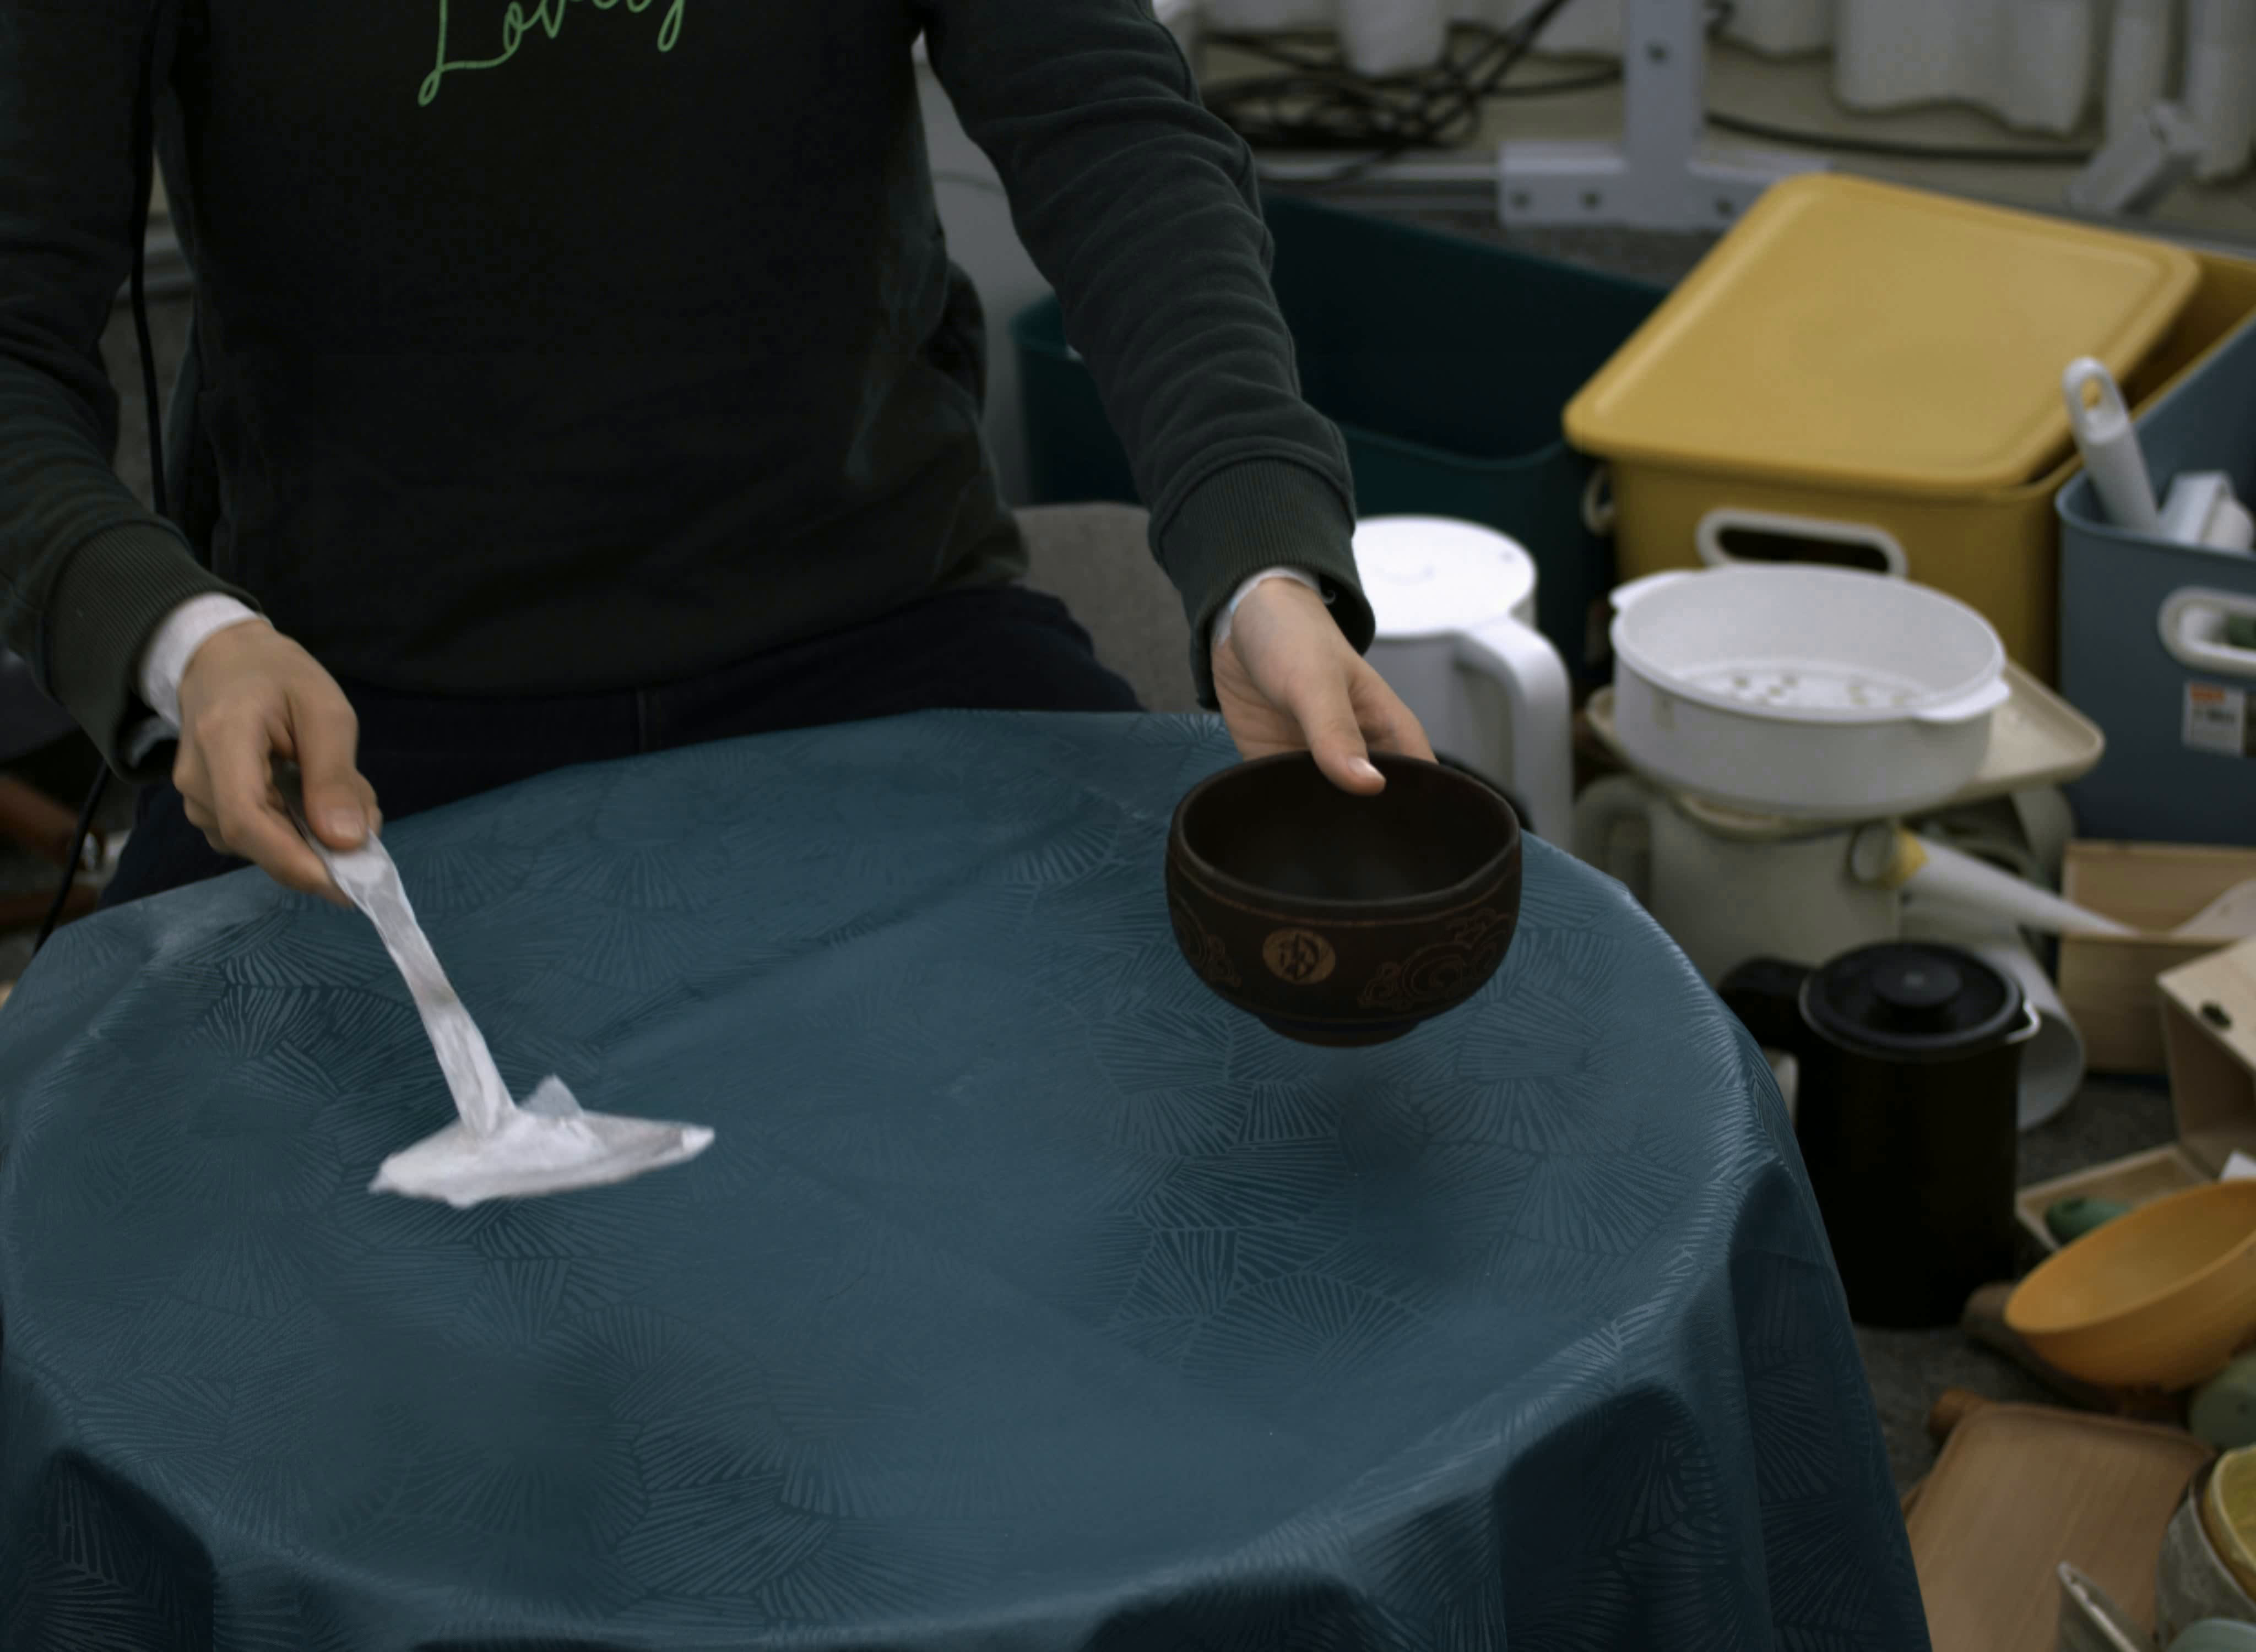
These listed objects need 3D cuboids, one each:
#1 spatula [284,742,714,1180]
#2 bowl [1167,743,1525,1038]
[{"bbox_3d":[-0.226,0.036,1.803,0.099,0.044,0.368,-11,30,-18],"label":"spatula"},{"bbox_3d":[0.071,0.027,1.850,0.117,0.069,0.119,2,23,-1],"label":"bowl"}]
